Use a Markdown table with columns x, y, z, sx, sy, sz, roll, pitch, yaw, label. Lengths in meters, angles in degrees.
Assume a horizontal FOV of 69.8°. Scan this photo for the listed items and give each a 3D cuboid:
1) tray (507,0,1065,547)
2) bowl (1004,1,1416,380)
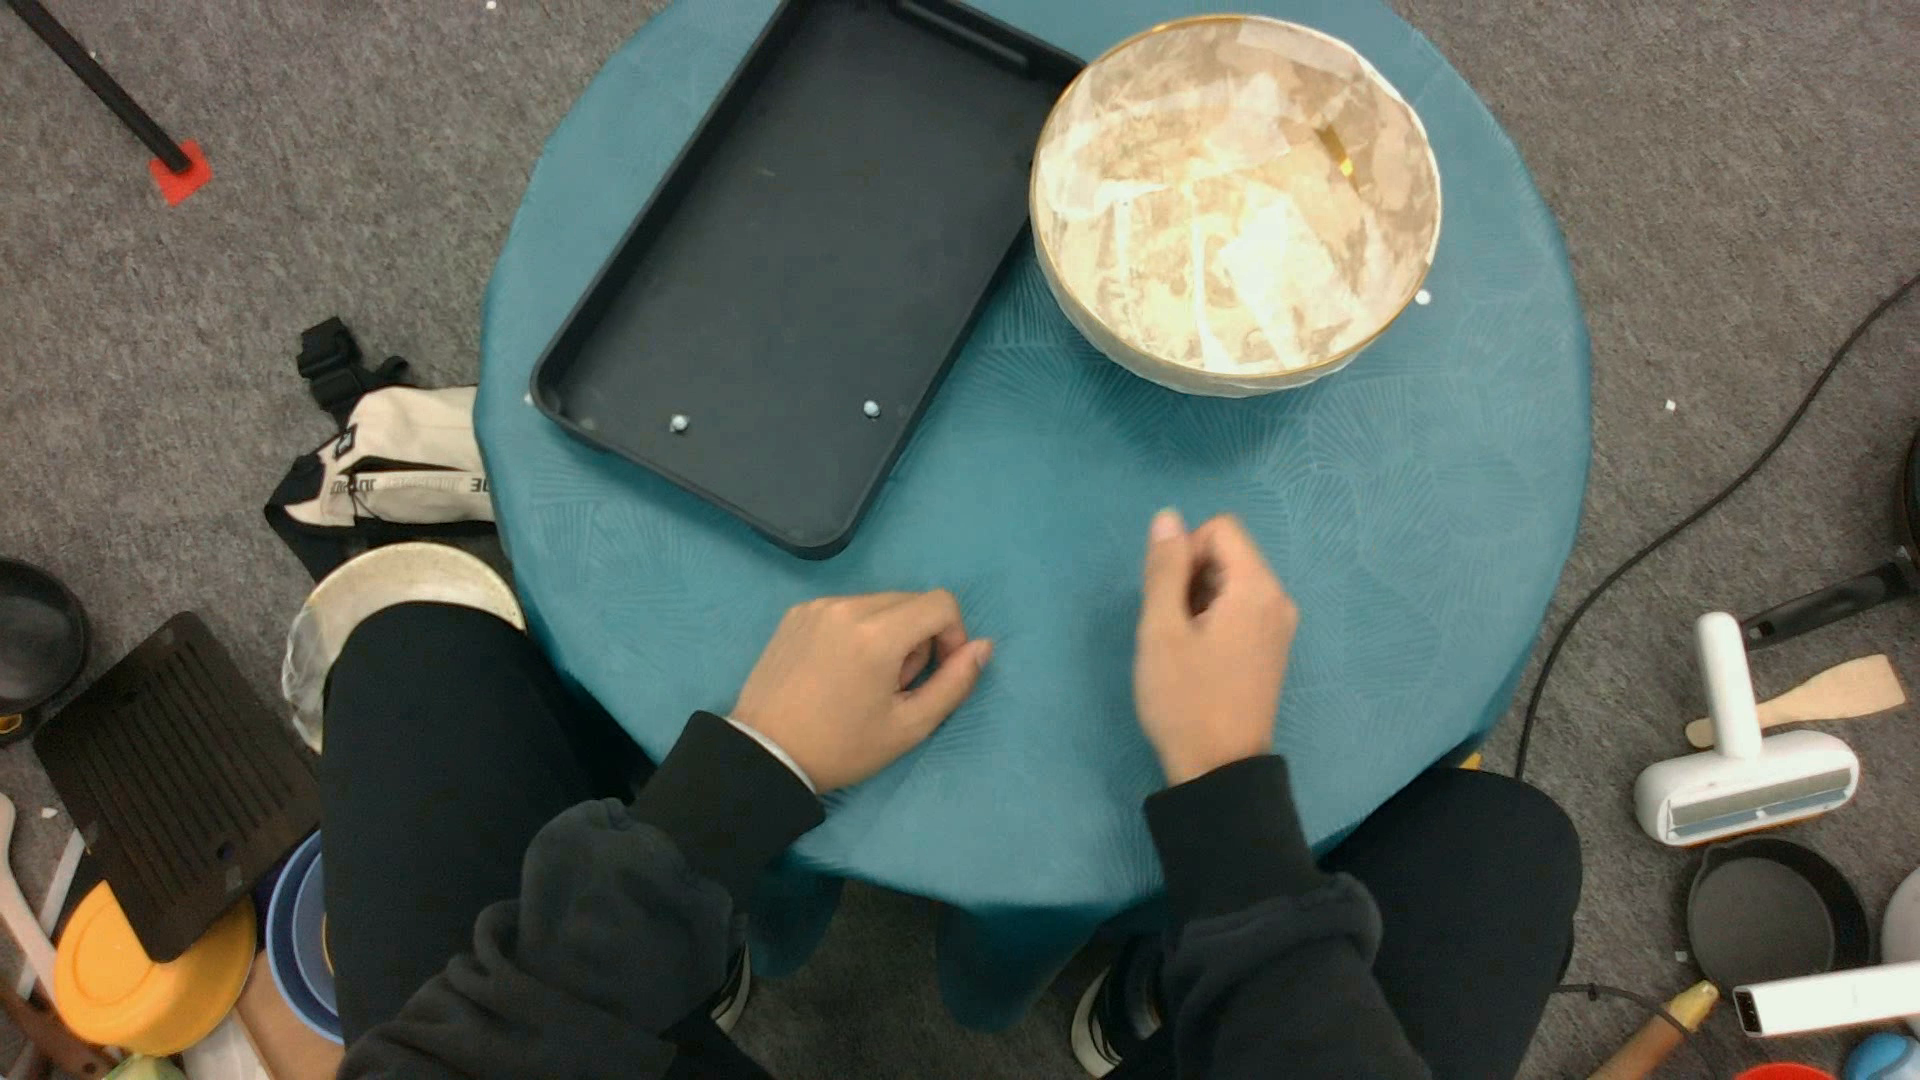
| x | y | z | sx | sy | sz | roll | pitch | yaw | label |
| --- | --- | --- | --- | --- | --- | --- | --- | --- | --- |
| -0.081 | -0.164 | 0.743 | 0.184 | 0.037 | 0.319 | 28 | 73 | 7 | tray |
| 0.119 | -0.167 | 0.719 | 0.215 | 0.094 | 0.215 | 1 | 74 | -4 | bowl |
